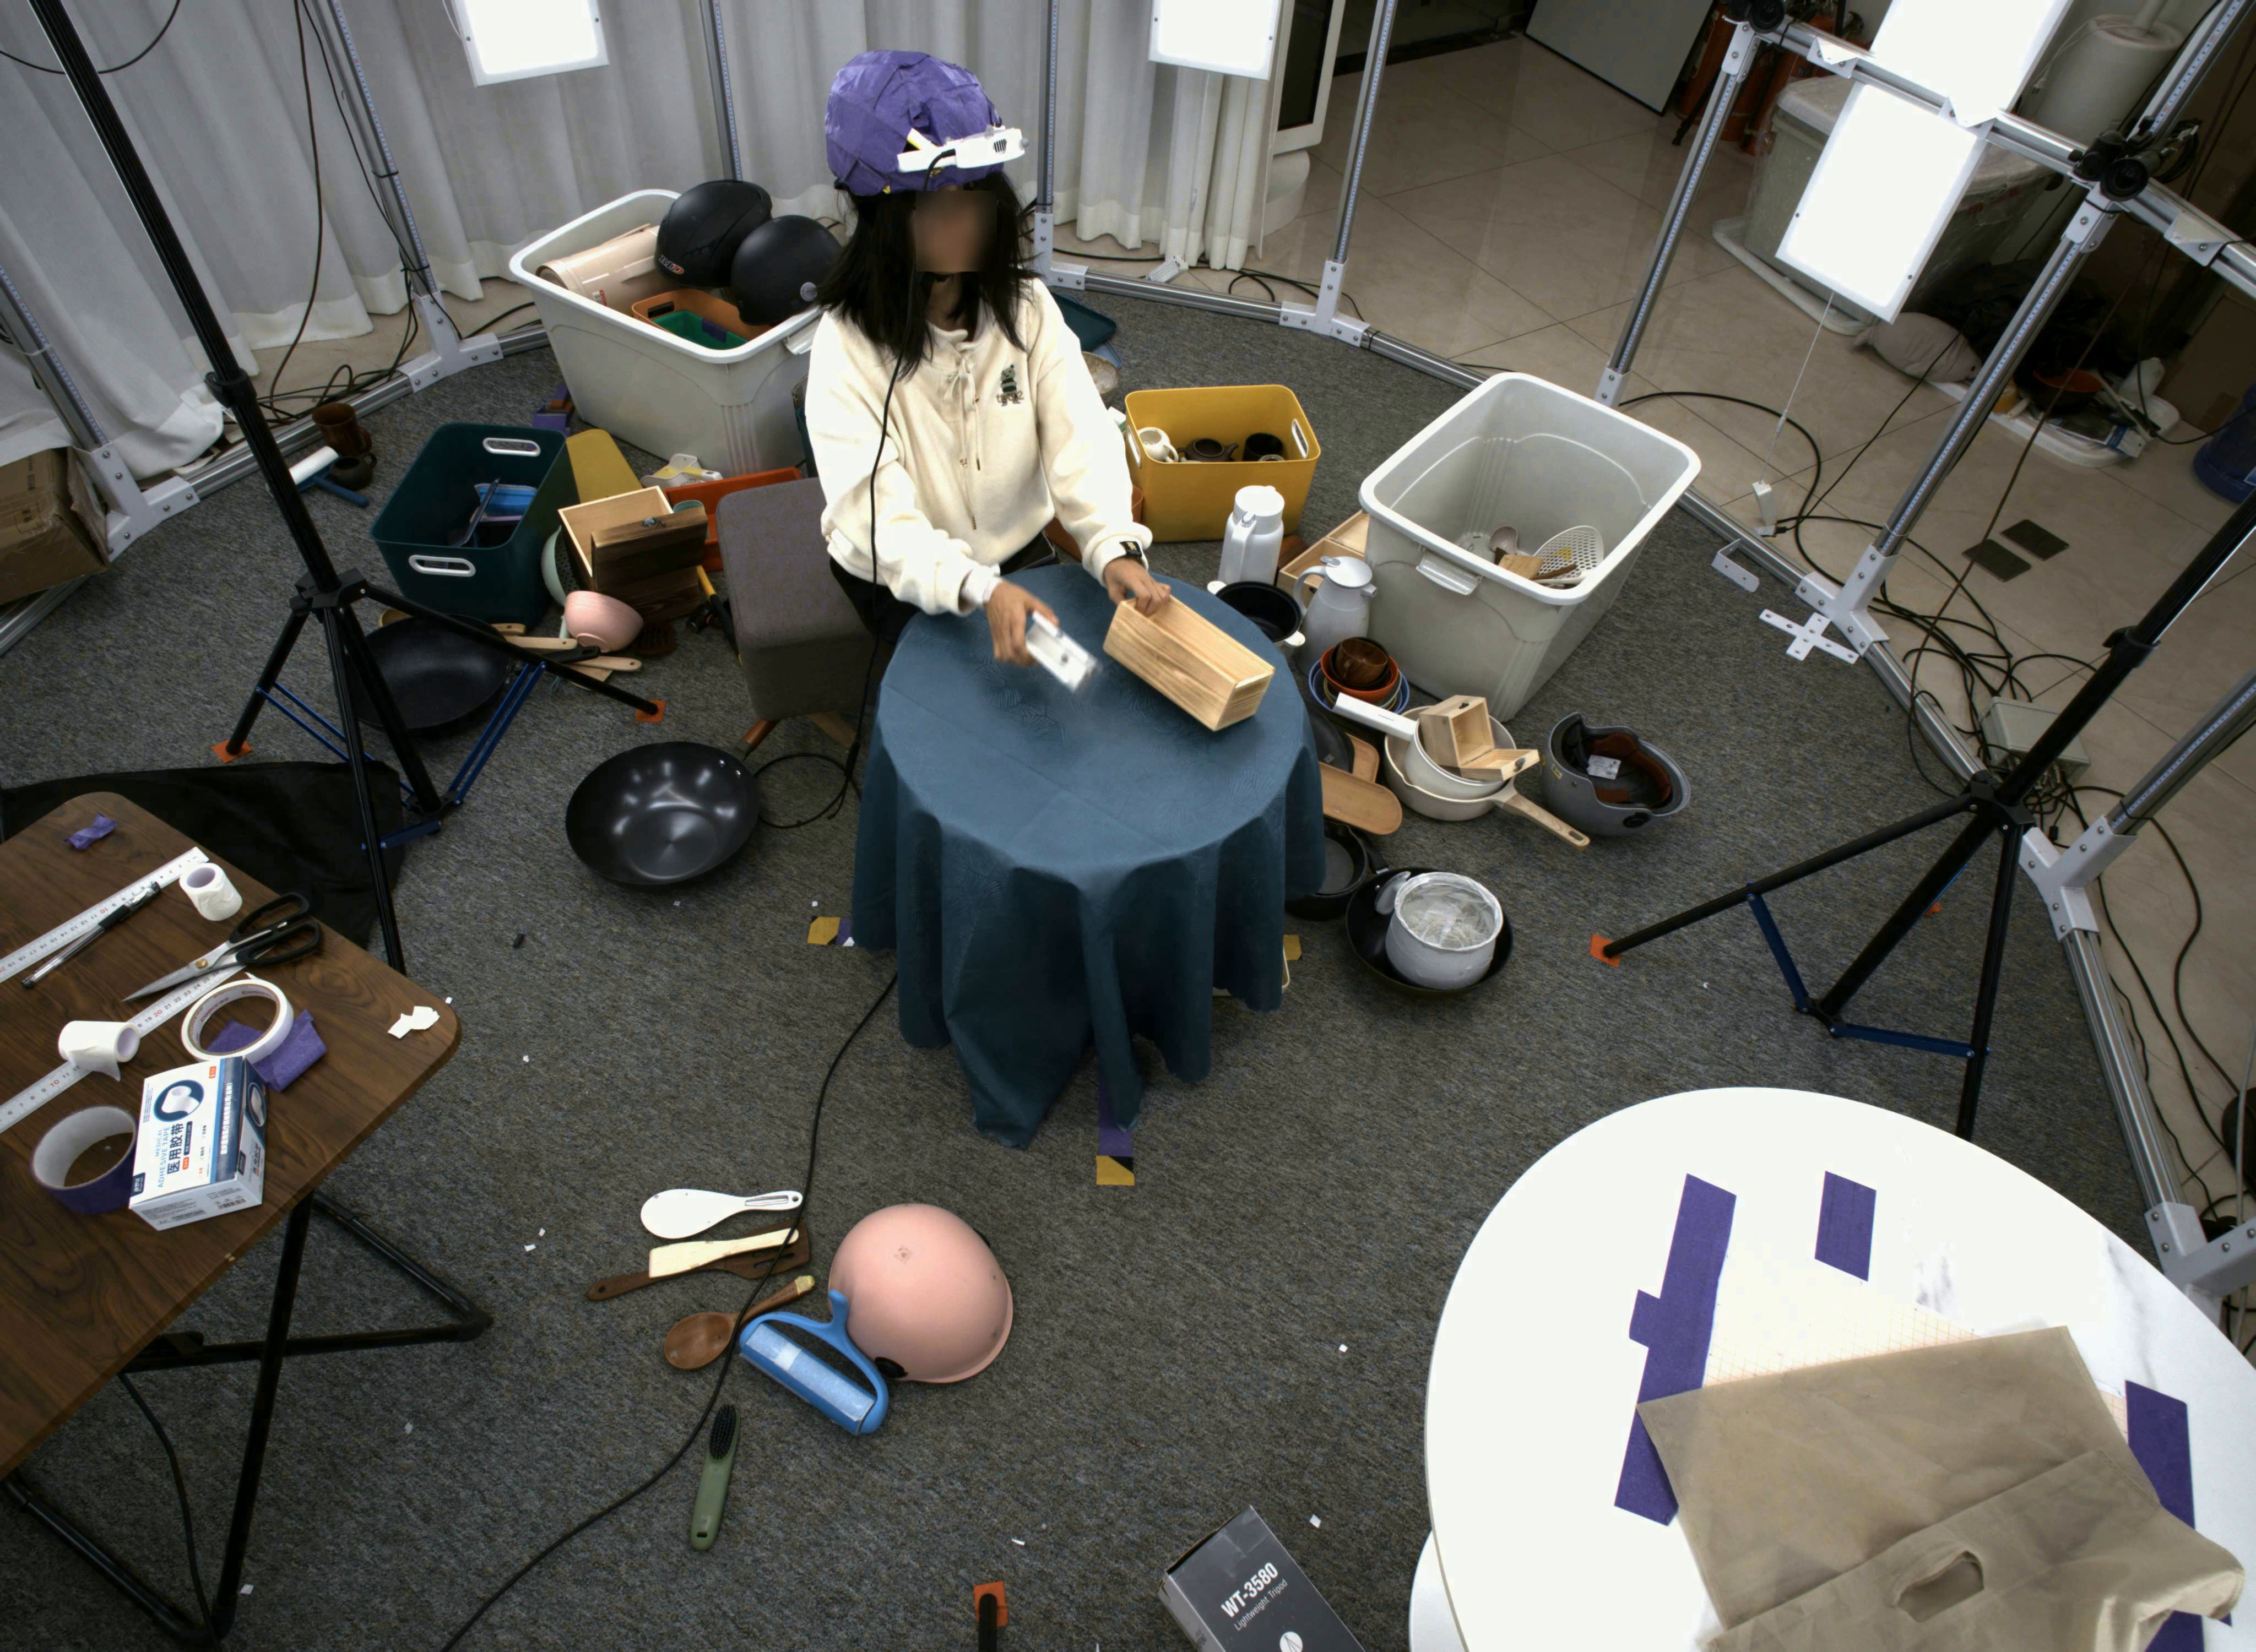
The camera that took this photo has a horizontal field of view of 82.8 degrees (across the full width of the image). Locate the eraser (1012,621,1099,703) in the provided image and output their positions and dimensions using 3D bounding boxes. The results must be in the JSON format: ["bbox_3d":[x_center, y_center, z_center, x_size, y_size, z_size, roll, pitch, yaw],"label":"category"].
[{"bbox_3d":[-0.099,-0.225,1.761,0.050,0.045,0.137,-50,52,2],"label":"eraser"}]

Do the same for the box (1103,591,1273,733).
[{"bbox_3d":[0.082,-0.233,1.801,0.214,0.078,0.108,39,38,22],"label":"box"}]
